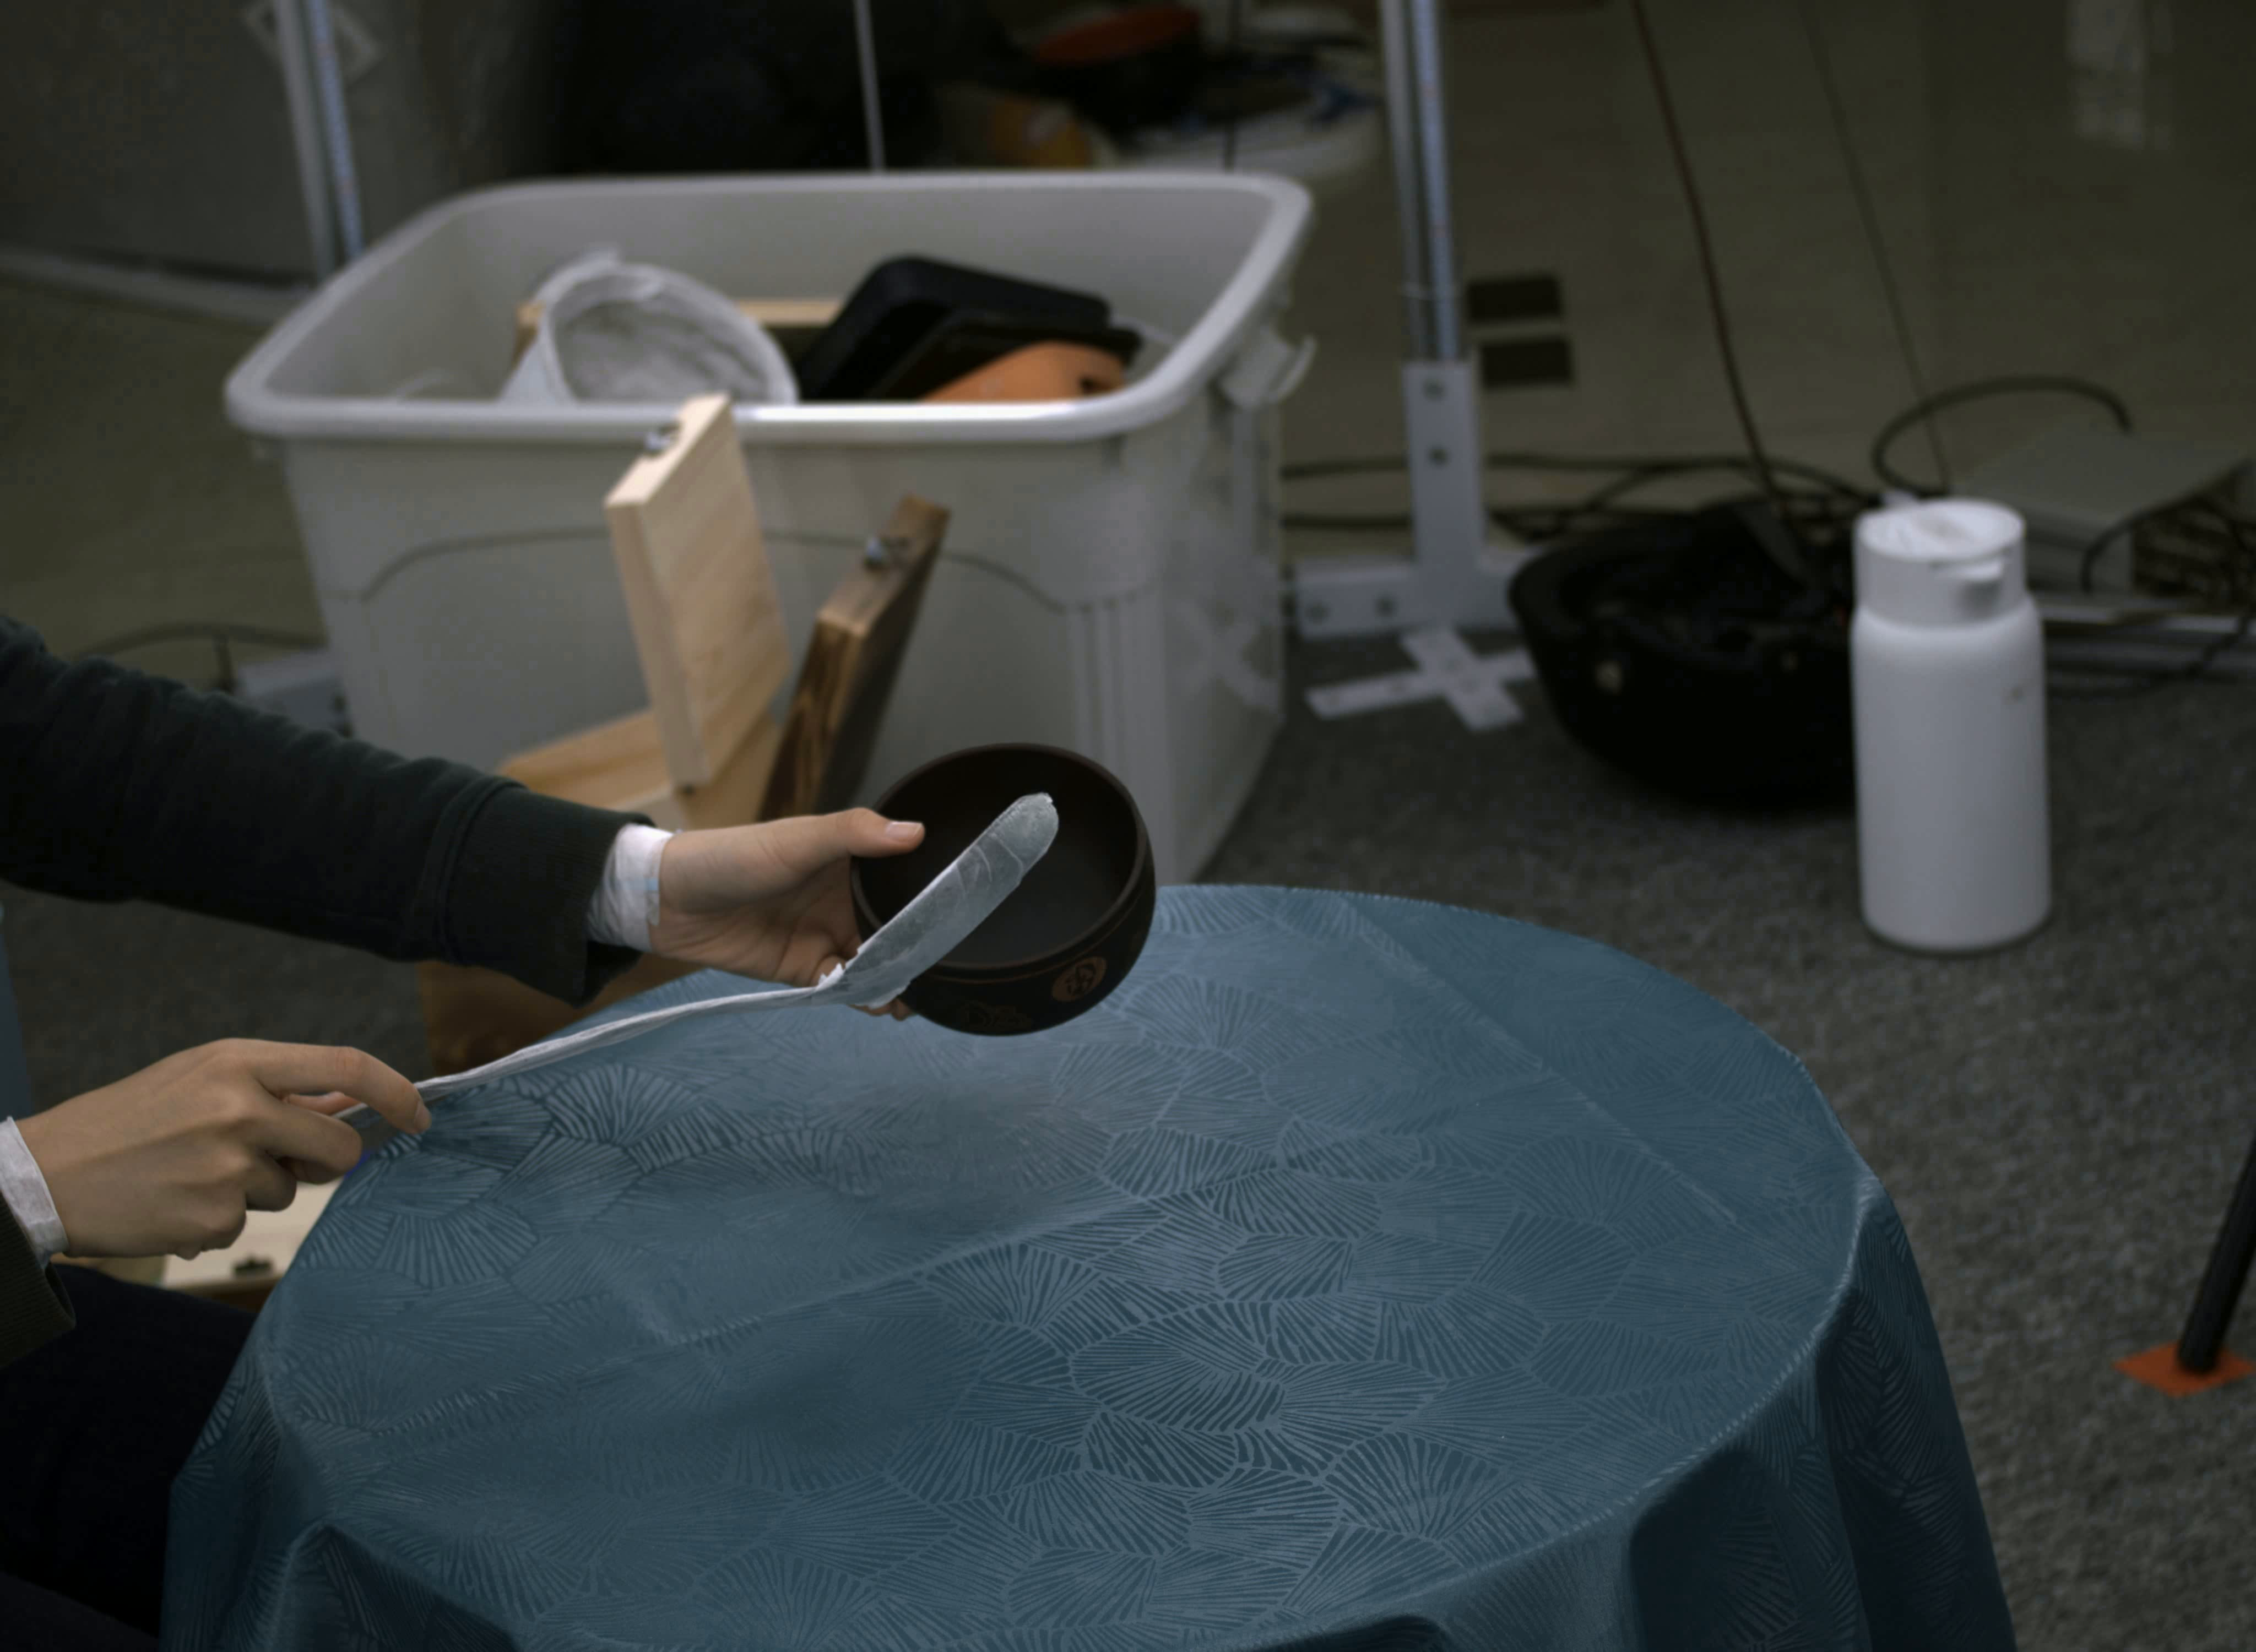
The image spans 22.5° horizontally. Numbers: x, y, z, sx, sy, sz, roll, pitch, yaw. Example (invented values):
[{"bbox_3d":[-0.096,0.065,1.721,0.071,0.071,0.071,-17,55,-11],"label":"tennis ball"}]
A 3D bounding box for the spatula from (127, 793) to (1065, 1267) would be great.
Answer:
[{"bbox_3d":[-0.187,0.073,1.997,0.364,0.044,0.099,-19,-12,-4],"label":"spatula"}]

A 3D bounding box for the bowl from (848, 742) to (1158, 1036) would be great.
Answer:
[{"bbox_3d":[-0.045,0.032,2.169,0.118,0.071,0.116,-5,48,6],"label":"bowl"}]
